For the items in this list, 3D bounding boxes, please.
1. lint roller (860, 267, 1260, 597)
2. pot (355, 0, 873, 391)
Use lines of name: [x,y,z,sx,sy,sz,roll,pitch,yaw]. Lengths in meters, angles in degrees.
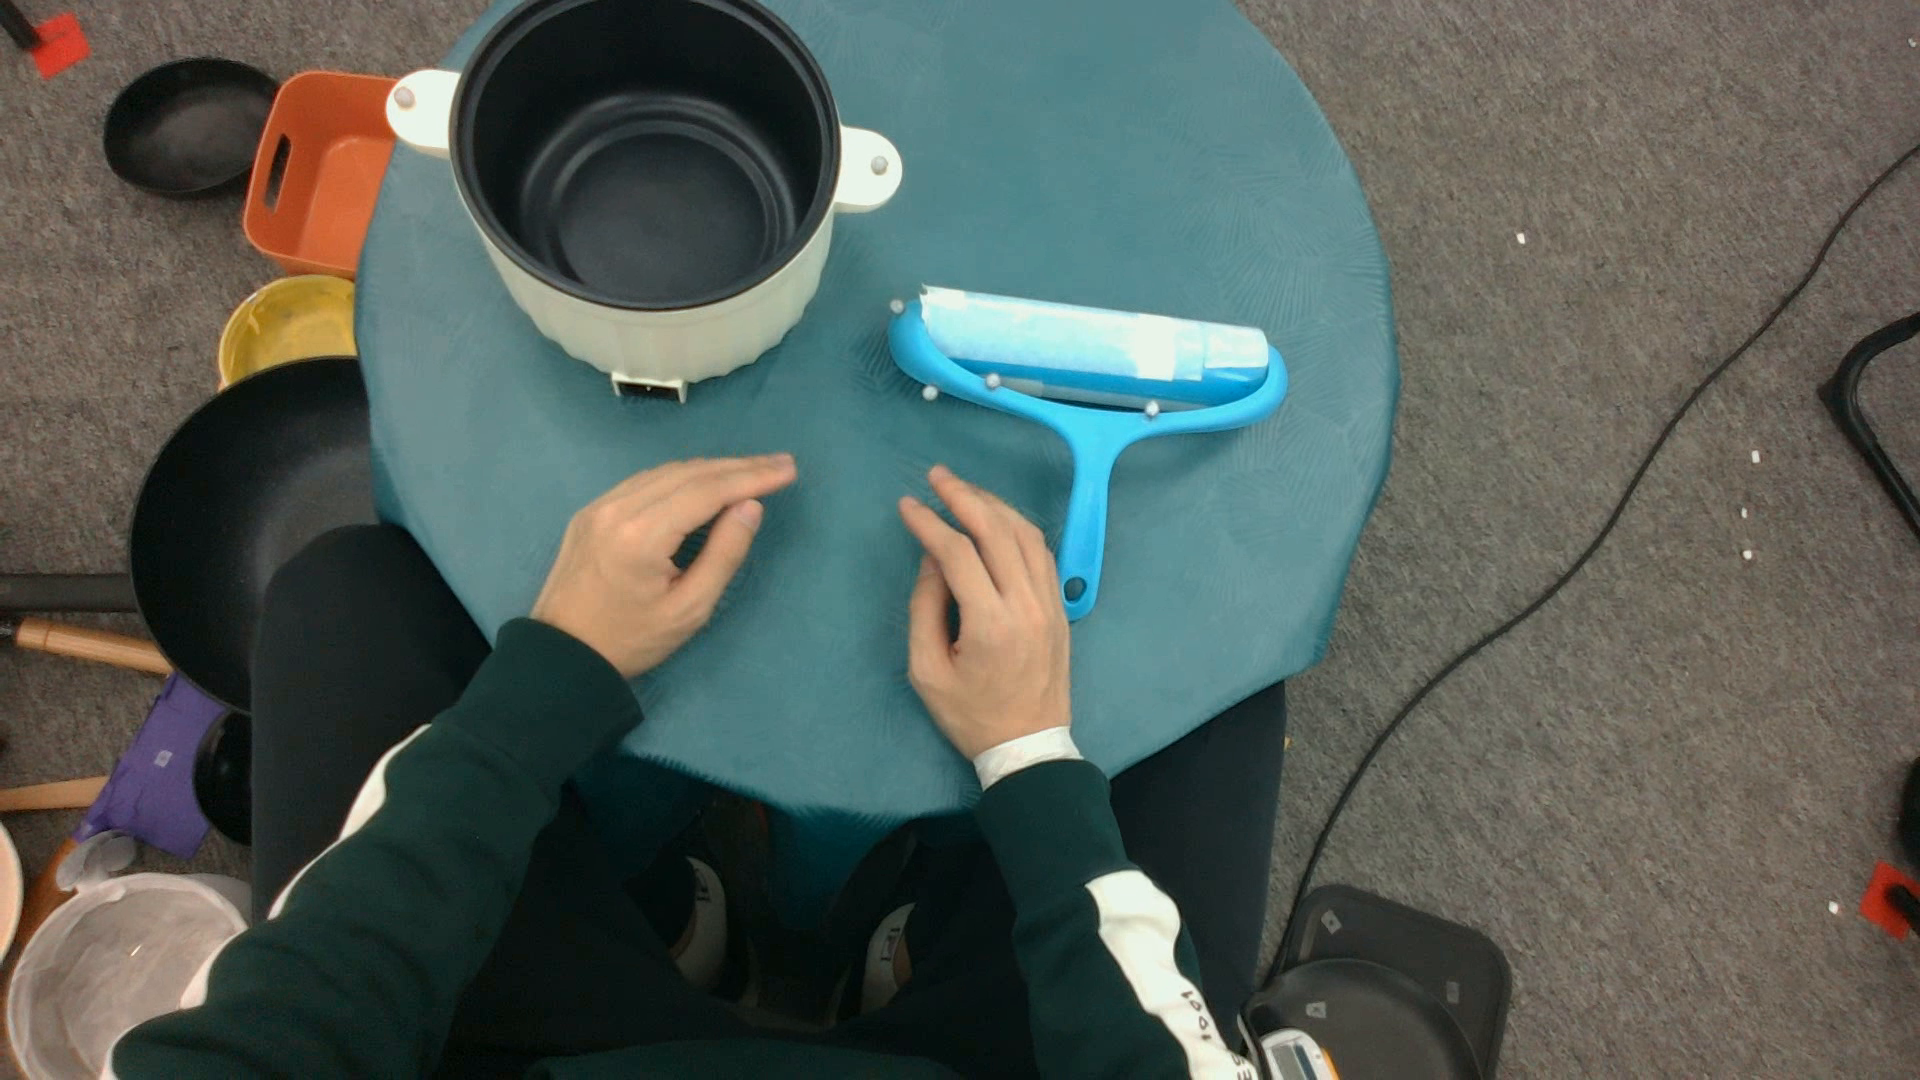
lint roller: [0.060,-0.062,0.762,0.229,0.067,0.180,1,75,-11]
pot: [-0.171,-0.186,0.715,0.240,0.142,0.191,4,78,-9]
